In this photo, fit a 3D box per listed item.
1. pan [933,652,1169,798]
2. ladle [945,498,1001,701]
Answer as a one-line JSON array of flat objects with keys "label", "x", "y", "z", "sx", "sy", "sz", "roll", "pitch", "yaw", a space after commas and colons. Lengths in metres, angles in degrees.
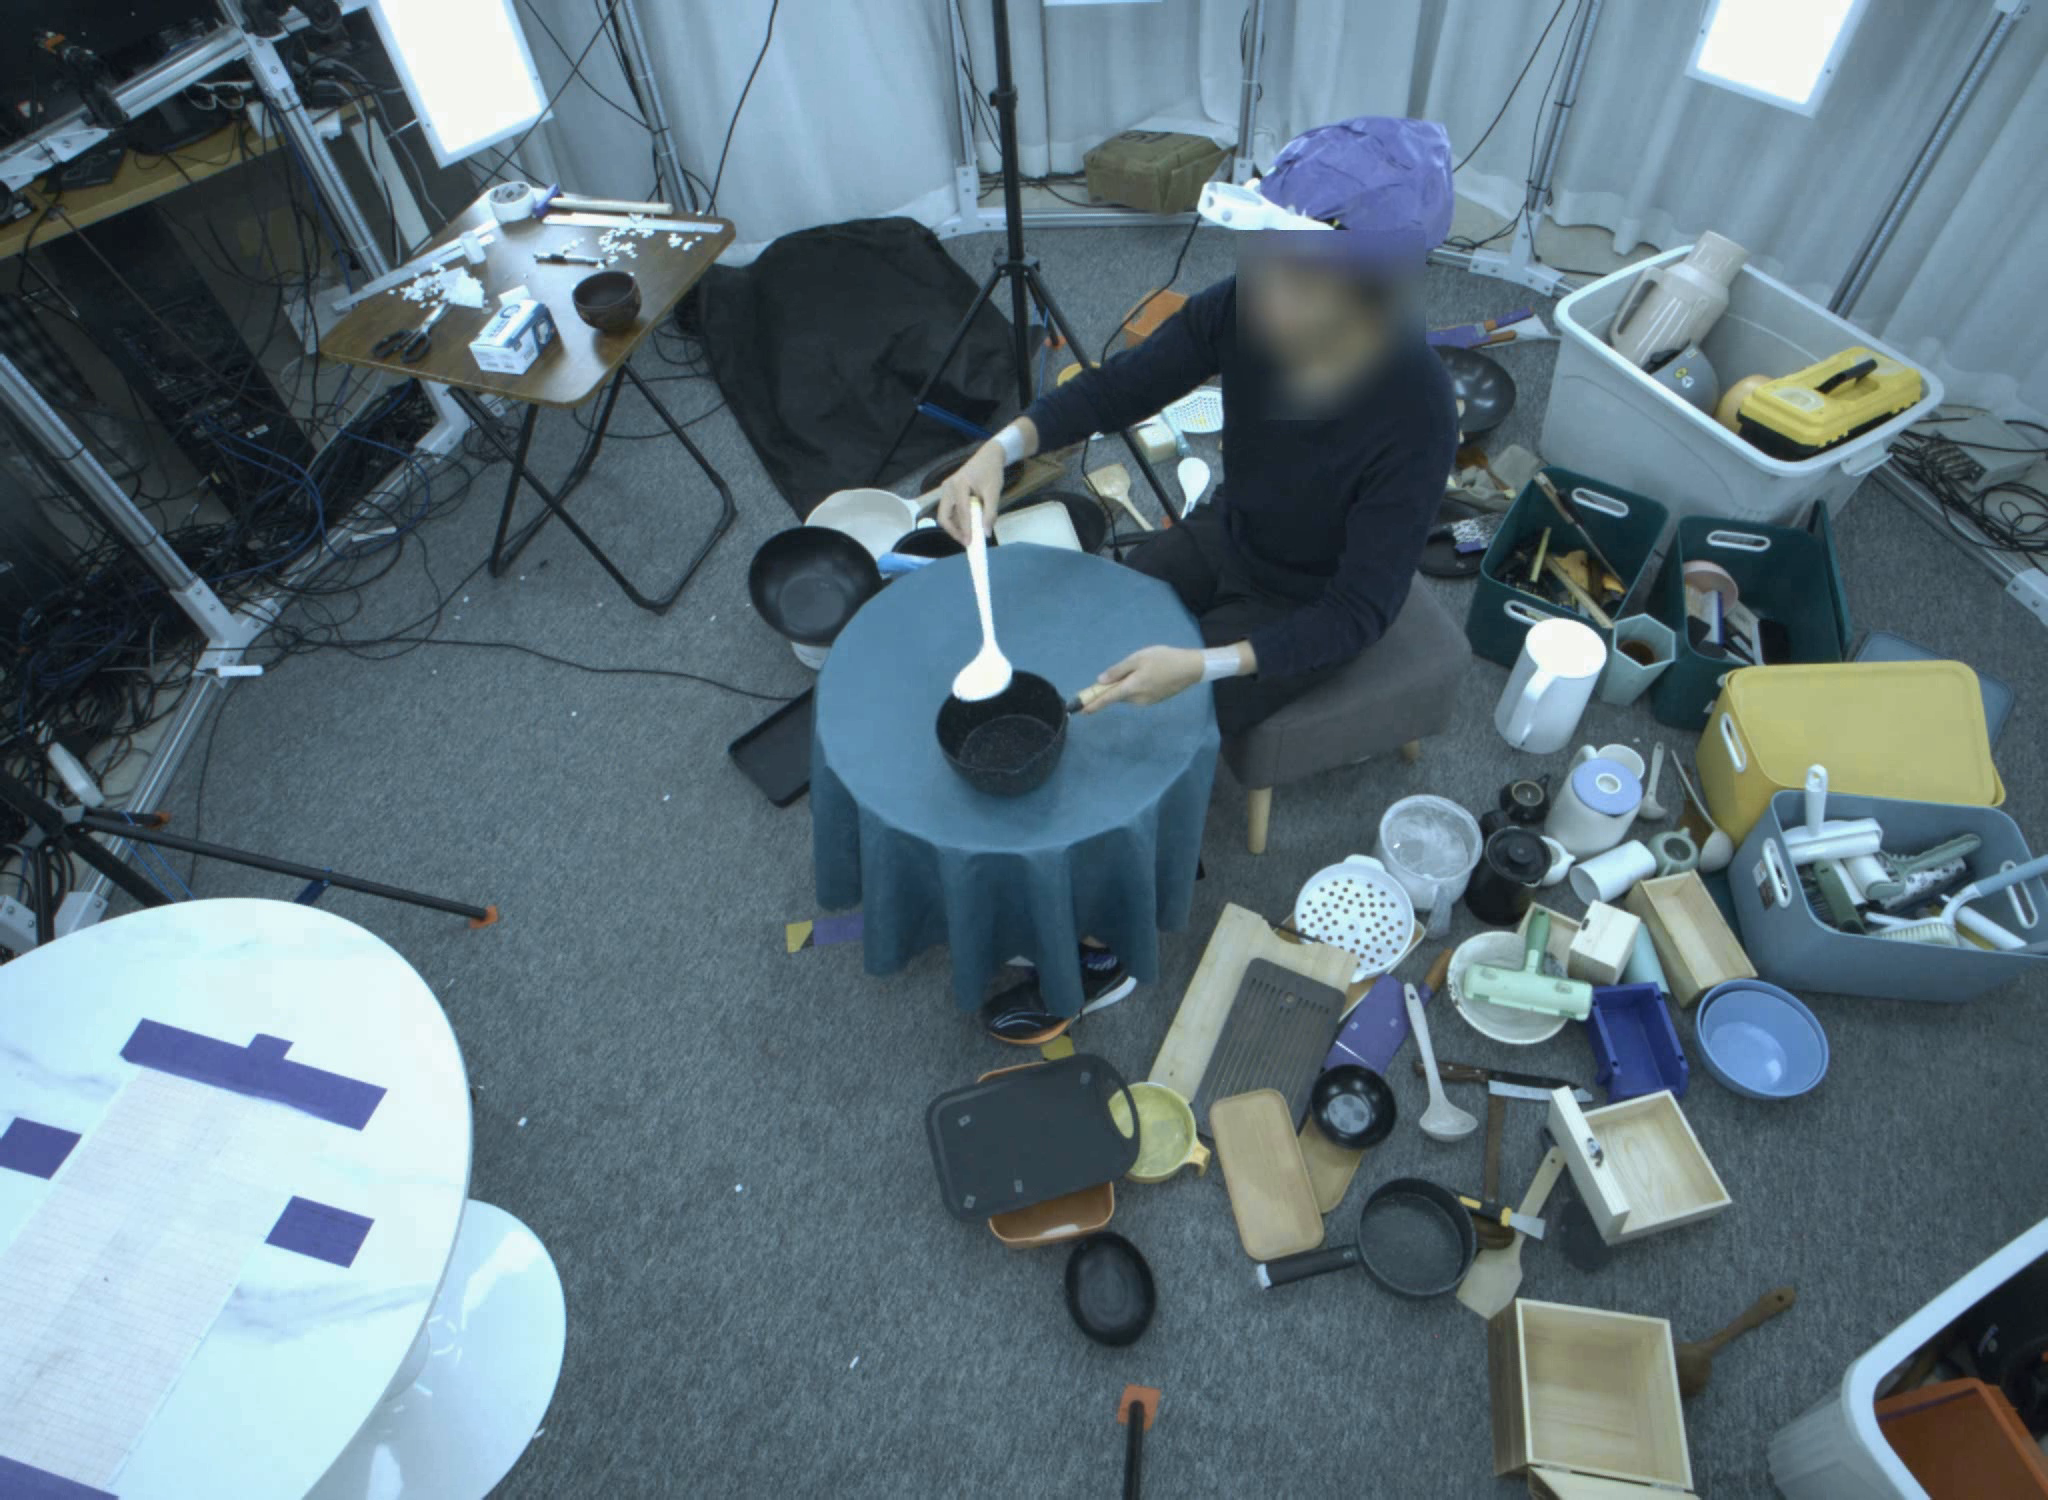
[{"label": "pan", "x": 0.045, "y": -0.050, "z": 1.738, "sx": 0.343, "sy": 0.110, "sz": 0.204, "roll": -19, "pitch": 51, "yaw": -4}, {"label": "ladle", "x": -0.076, "y": -0.210, "z": 1.700, "sx": 0.088, "sy": 0.071, "sz": 0.292, "roll": -8, "pitch": 85, "yaw": 35}]
